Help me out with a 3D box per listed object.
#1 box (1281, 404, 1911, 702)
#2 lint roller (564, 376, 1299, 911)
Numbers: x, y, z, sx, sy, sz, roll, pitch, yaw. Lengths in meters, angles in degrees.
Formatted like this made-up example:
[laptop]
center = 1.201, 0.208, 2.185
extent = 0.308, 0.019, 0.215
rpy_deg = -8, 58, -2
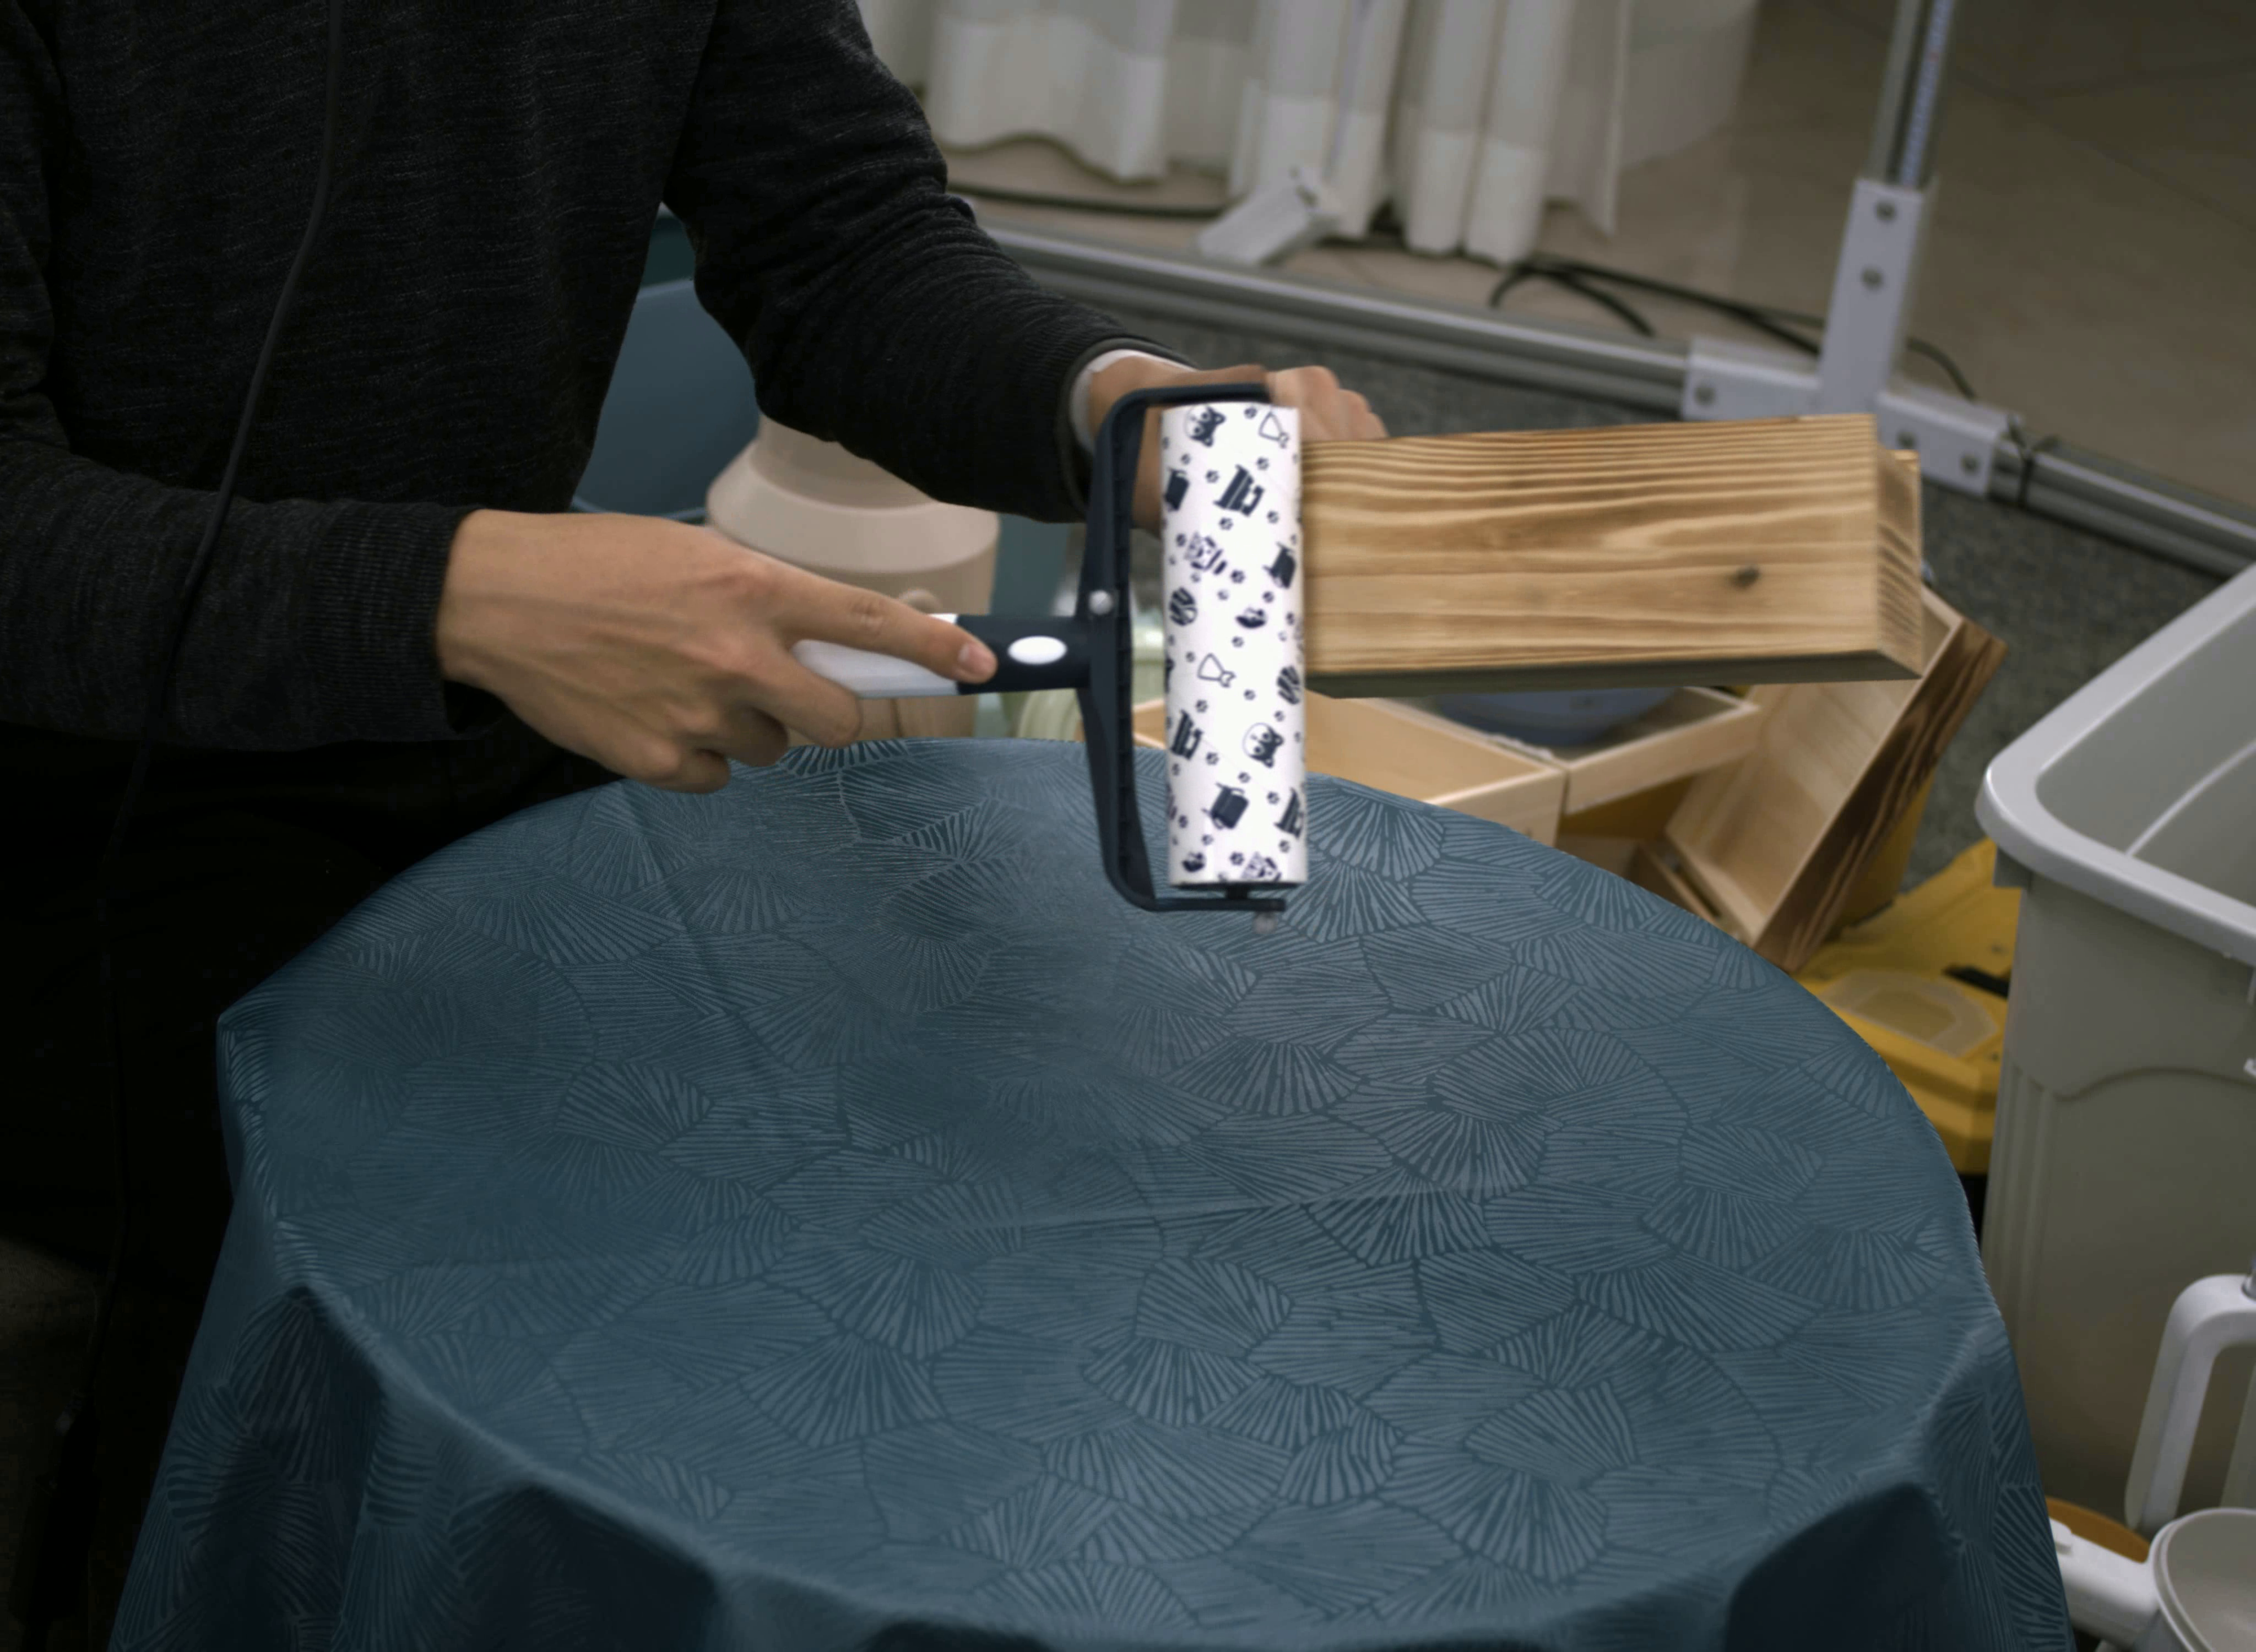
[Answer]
[box]
center = 0.153, -0.090, 1.811
extent = 0.211, 0.080, 0.107
rpy_deg = -2, -5, 17
[lint roller]
center = -0.067, -0.056, 1.770
extent = 0.246, 0.177, 0.050
rpy_deg = -2, 0, 5
